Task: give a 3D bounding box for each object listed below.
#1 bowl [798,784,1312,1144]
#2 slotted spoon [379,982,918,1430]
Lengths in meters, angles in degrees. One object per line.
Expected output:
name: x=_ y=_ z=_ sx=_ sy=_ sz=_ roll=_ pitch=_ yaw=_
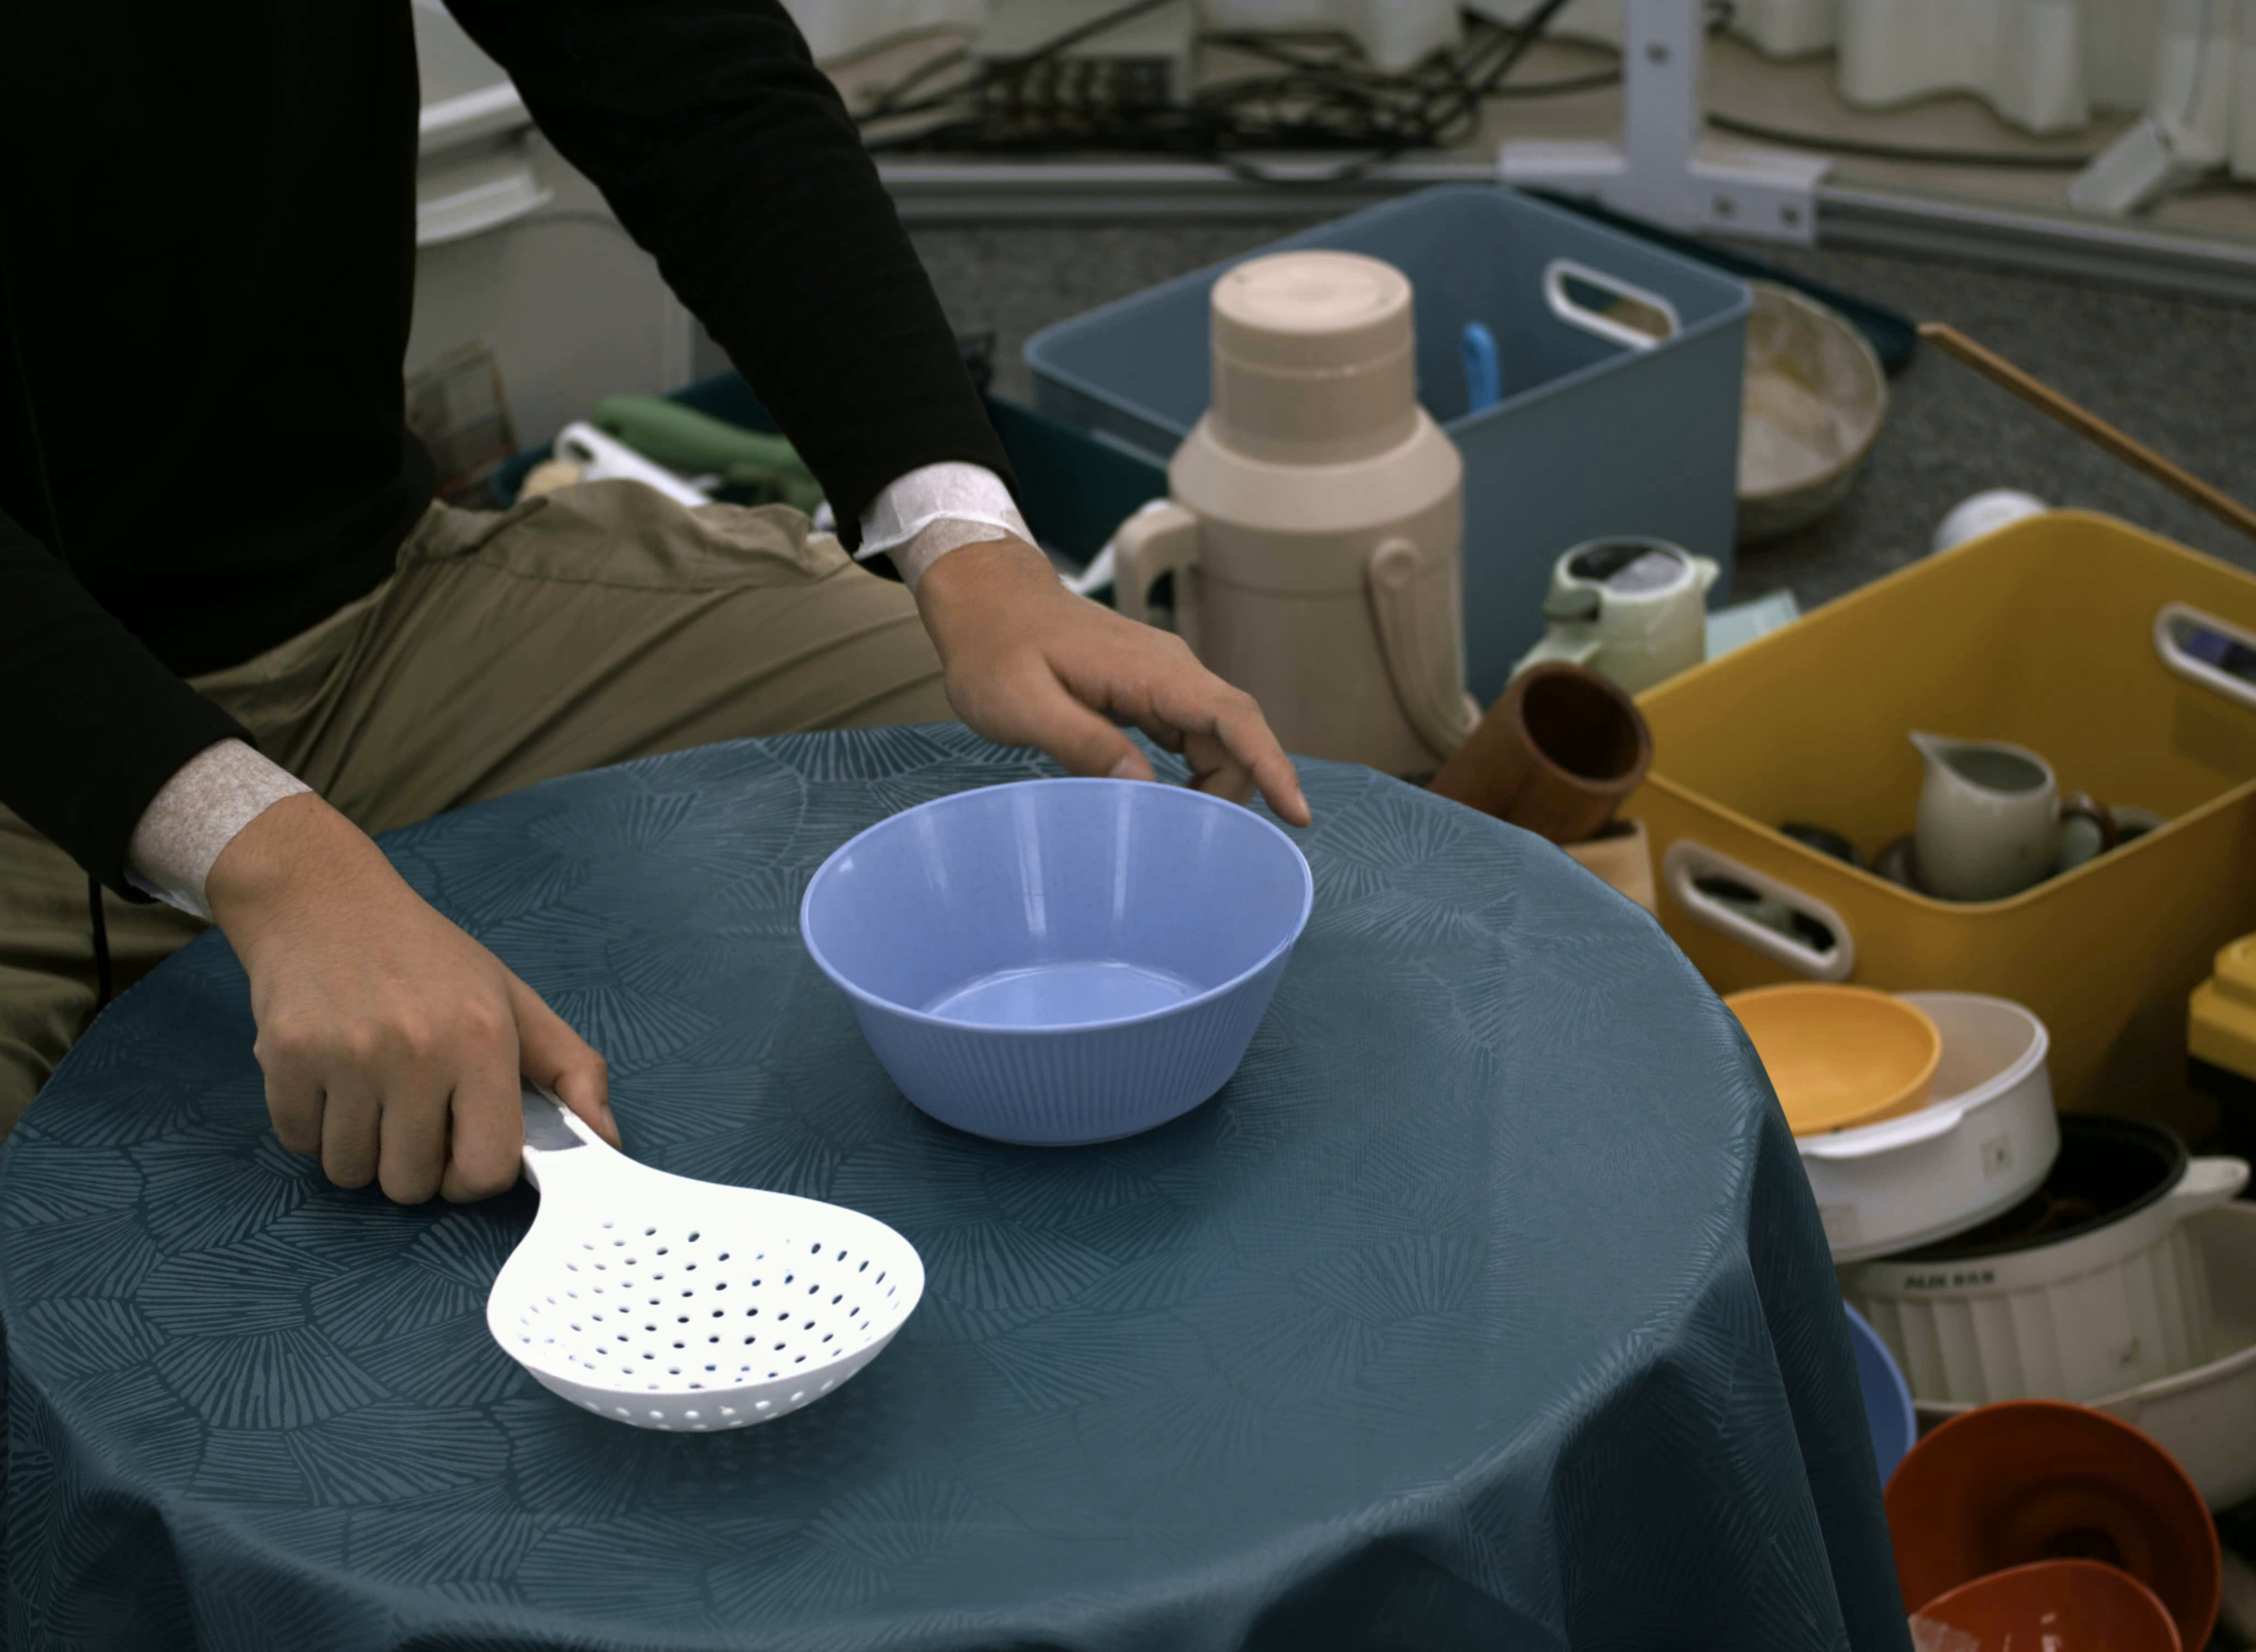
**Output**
bowl: x=-0.023 y=0.052 z=1.922 sx=0.175 sy=0.069 sz=0.178 roll=-3 pitch=26 yaw=2
slotted spoon: x=-0.179 y=0.118 z=1.838 sx=0.136 sy=0.045 sz=0.351 roll=-14 pitch=28 yaw=-22
